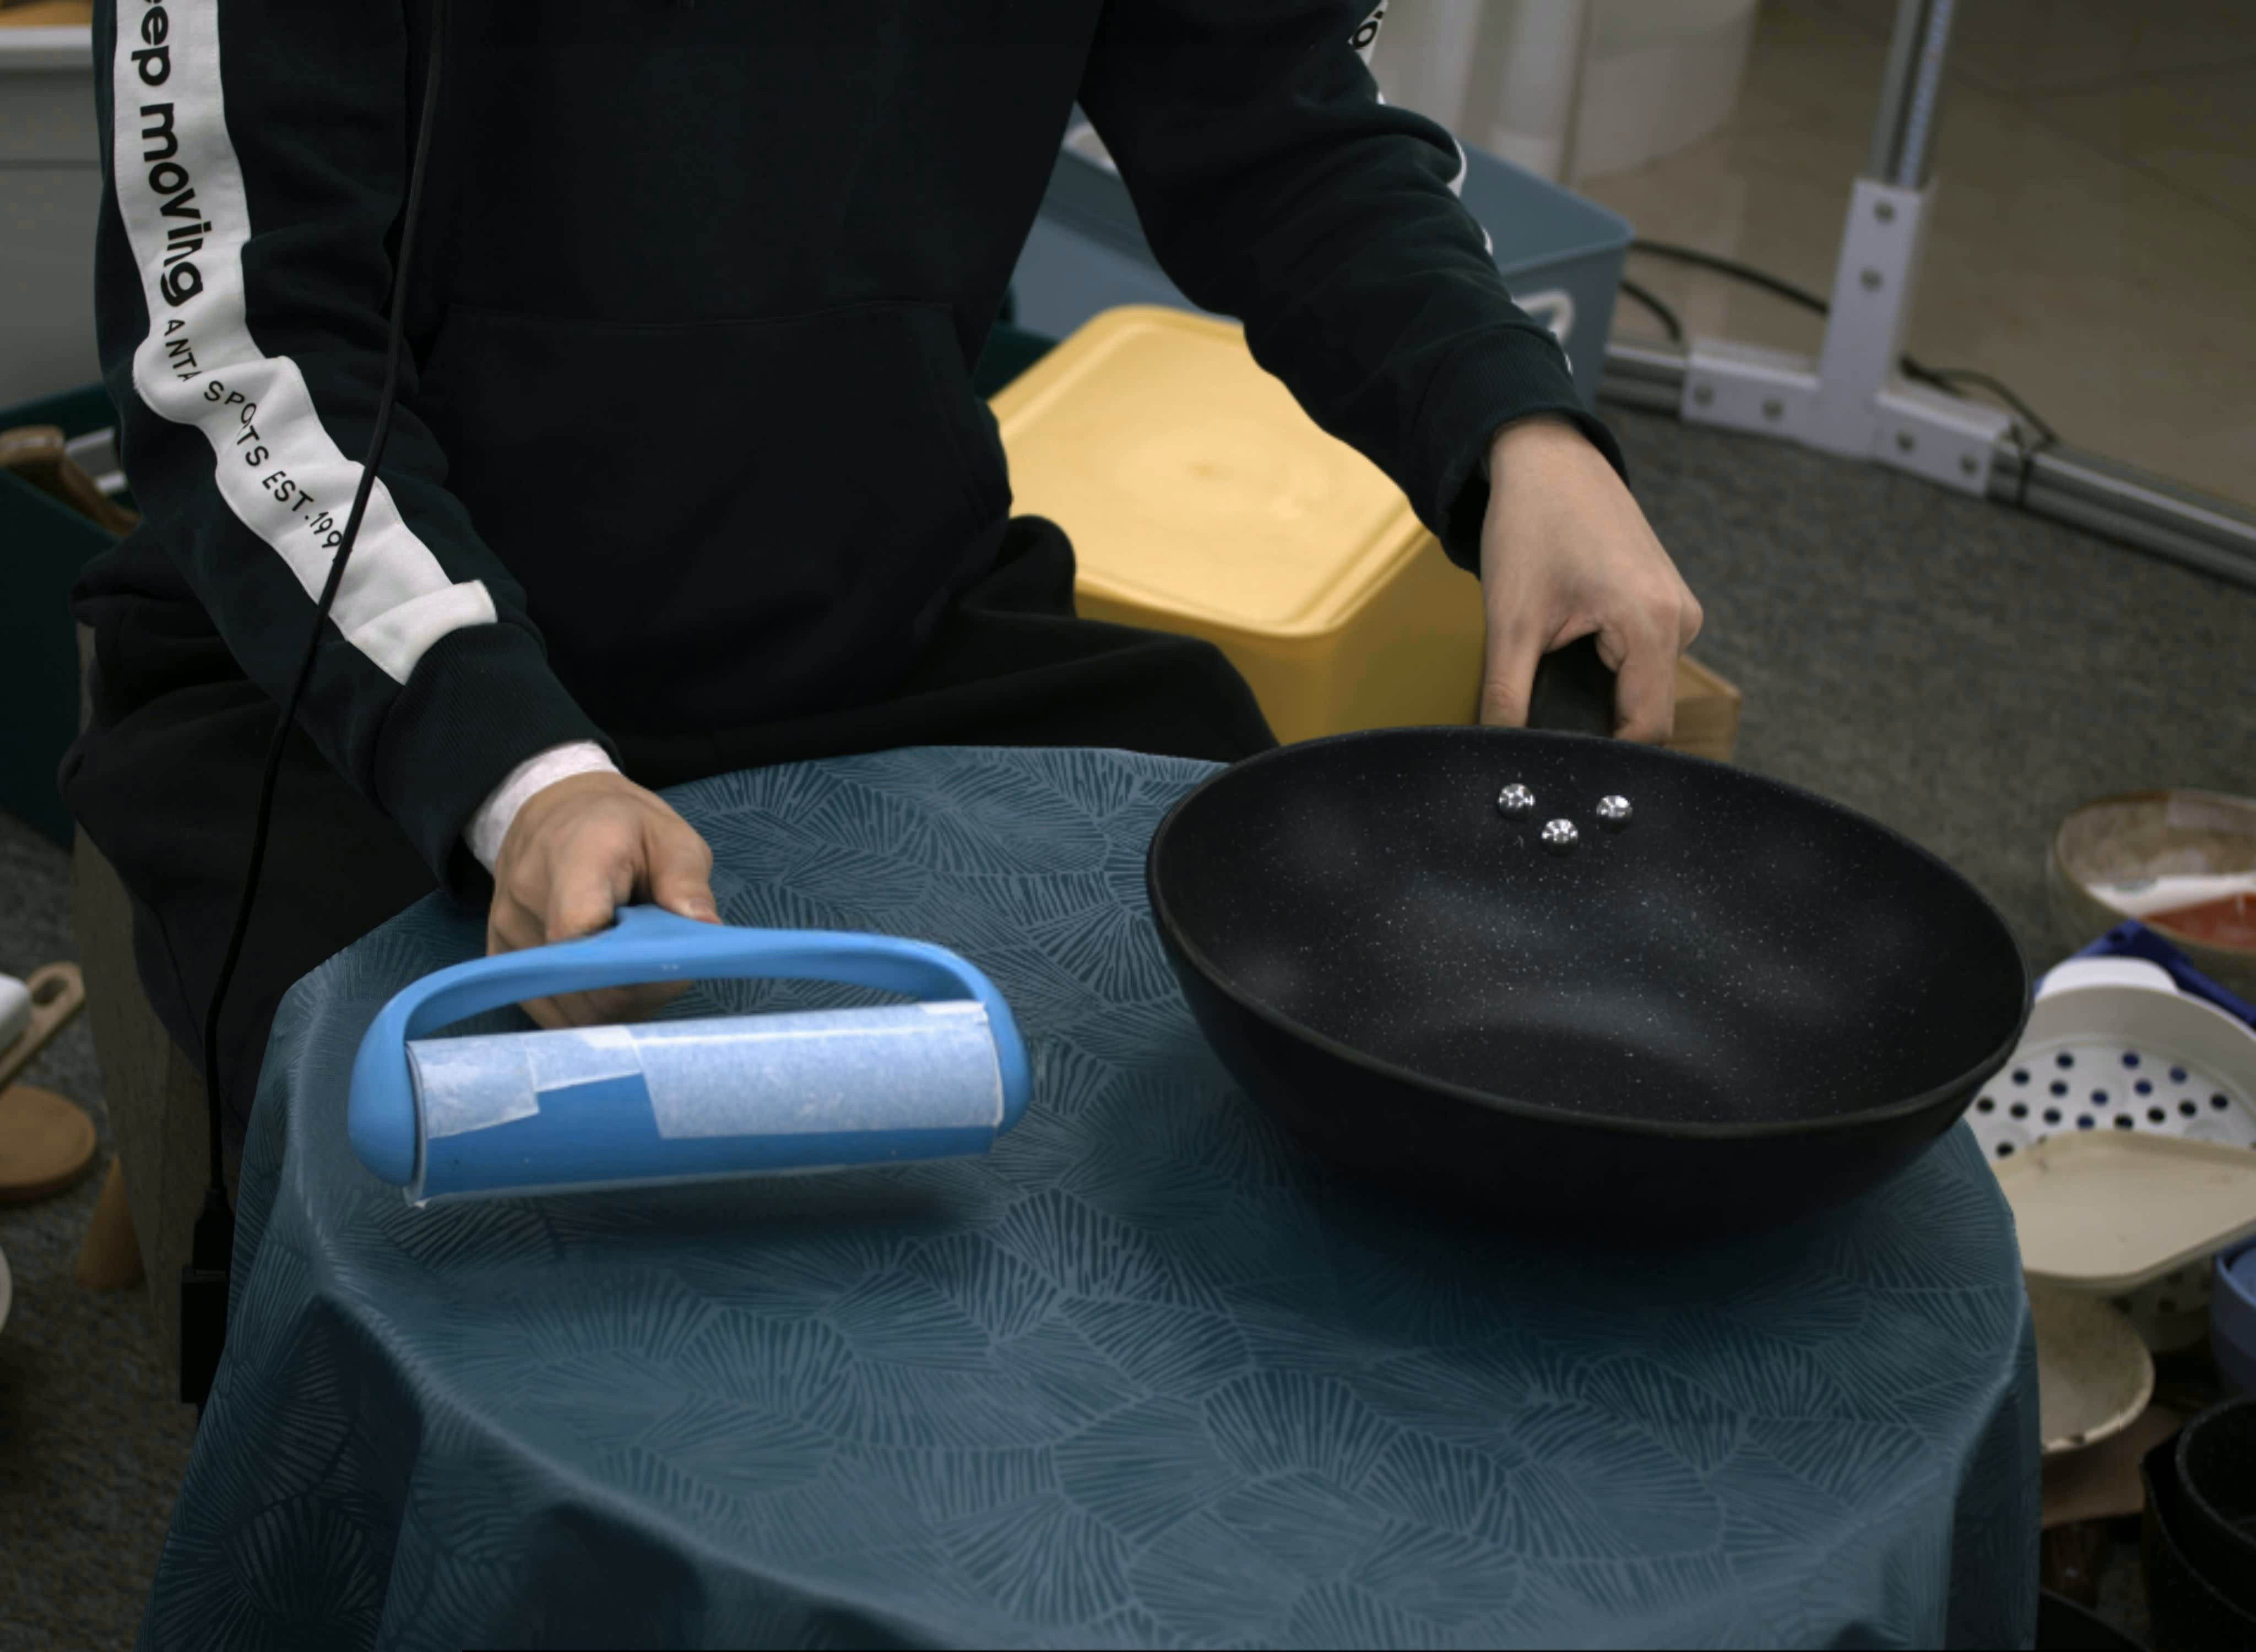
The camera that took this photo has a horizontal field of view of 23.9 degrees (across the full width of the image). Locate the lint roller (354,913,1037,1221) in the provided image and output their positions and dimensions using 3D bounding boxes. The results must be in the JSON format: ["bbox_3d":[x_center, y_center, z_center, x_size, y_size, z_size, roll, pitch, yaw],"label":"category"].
[{"bbox_3d":[-0.160,0.063,1.780,0.227,0.067,0.182,-8,29,-20],"label":"lint roller"}]

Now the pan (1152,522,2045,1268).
[{"bbox_3d":[0.159,0.027,1.908,0.309,0.111,0.479,8,24,-2],"label":"pan"}]
